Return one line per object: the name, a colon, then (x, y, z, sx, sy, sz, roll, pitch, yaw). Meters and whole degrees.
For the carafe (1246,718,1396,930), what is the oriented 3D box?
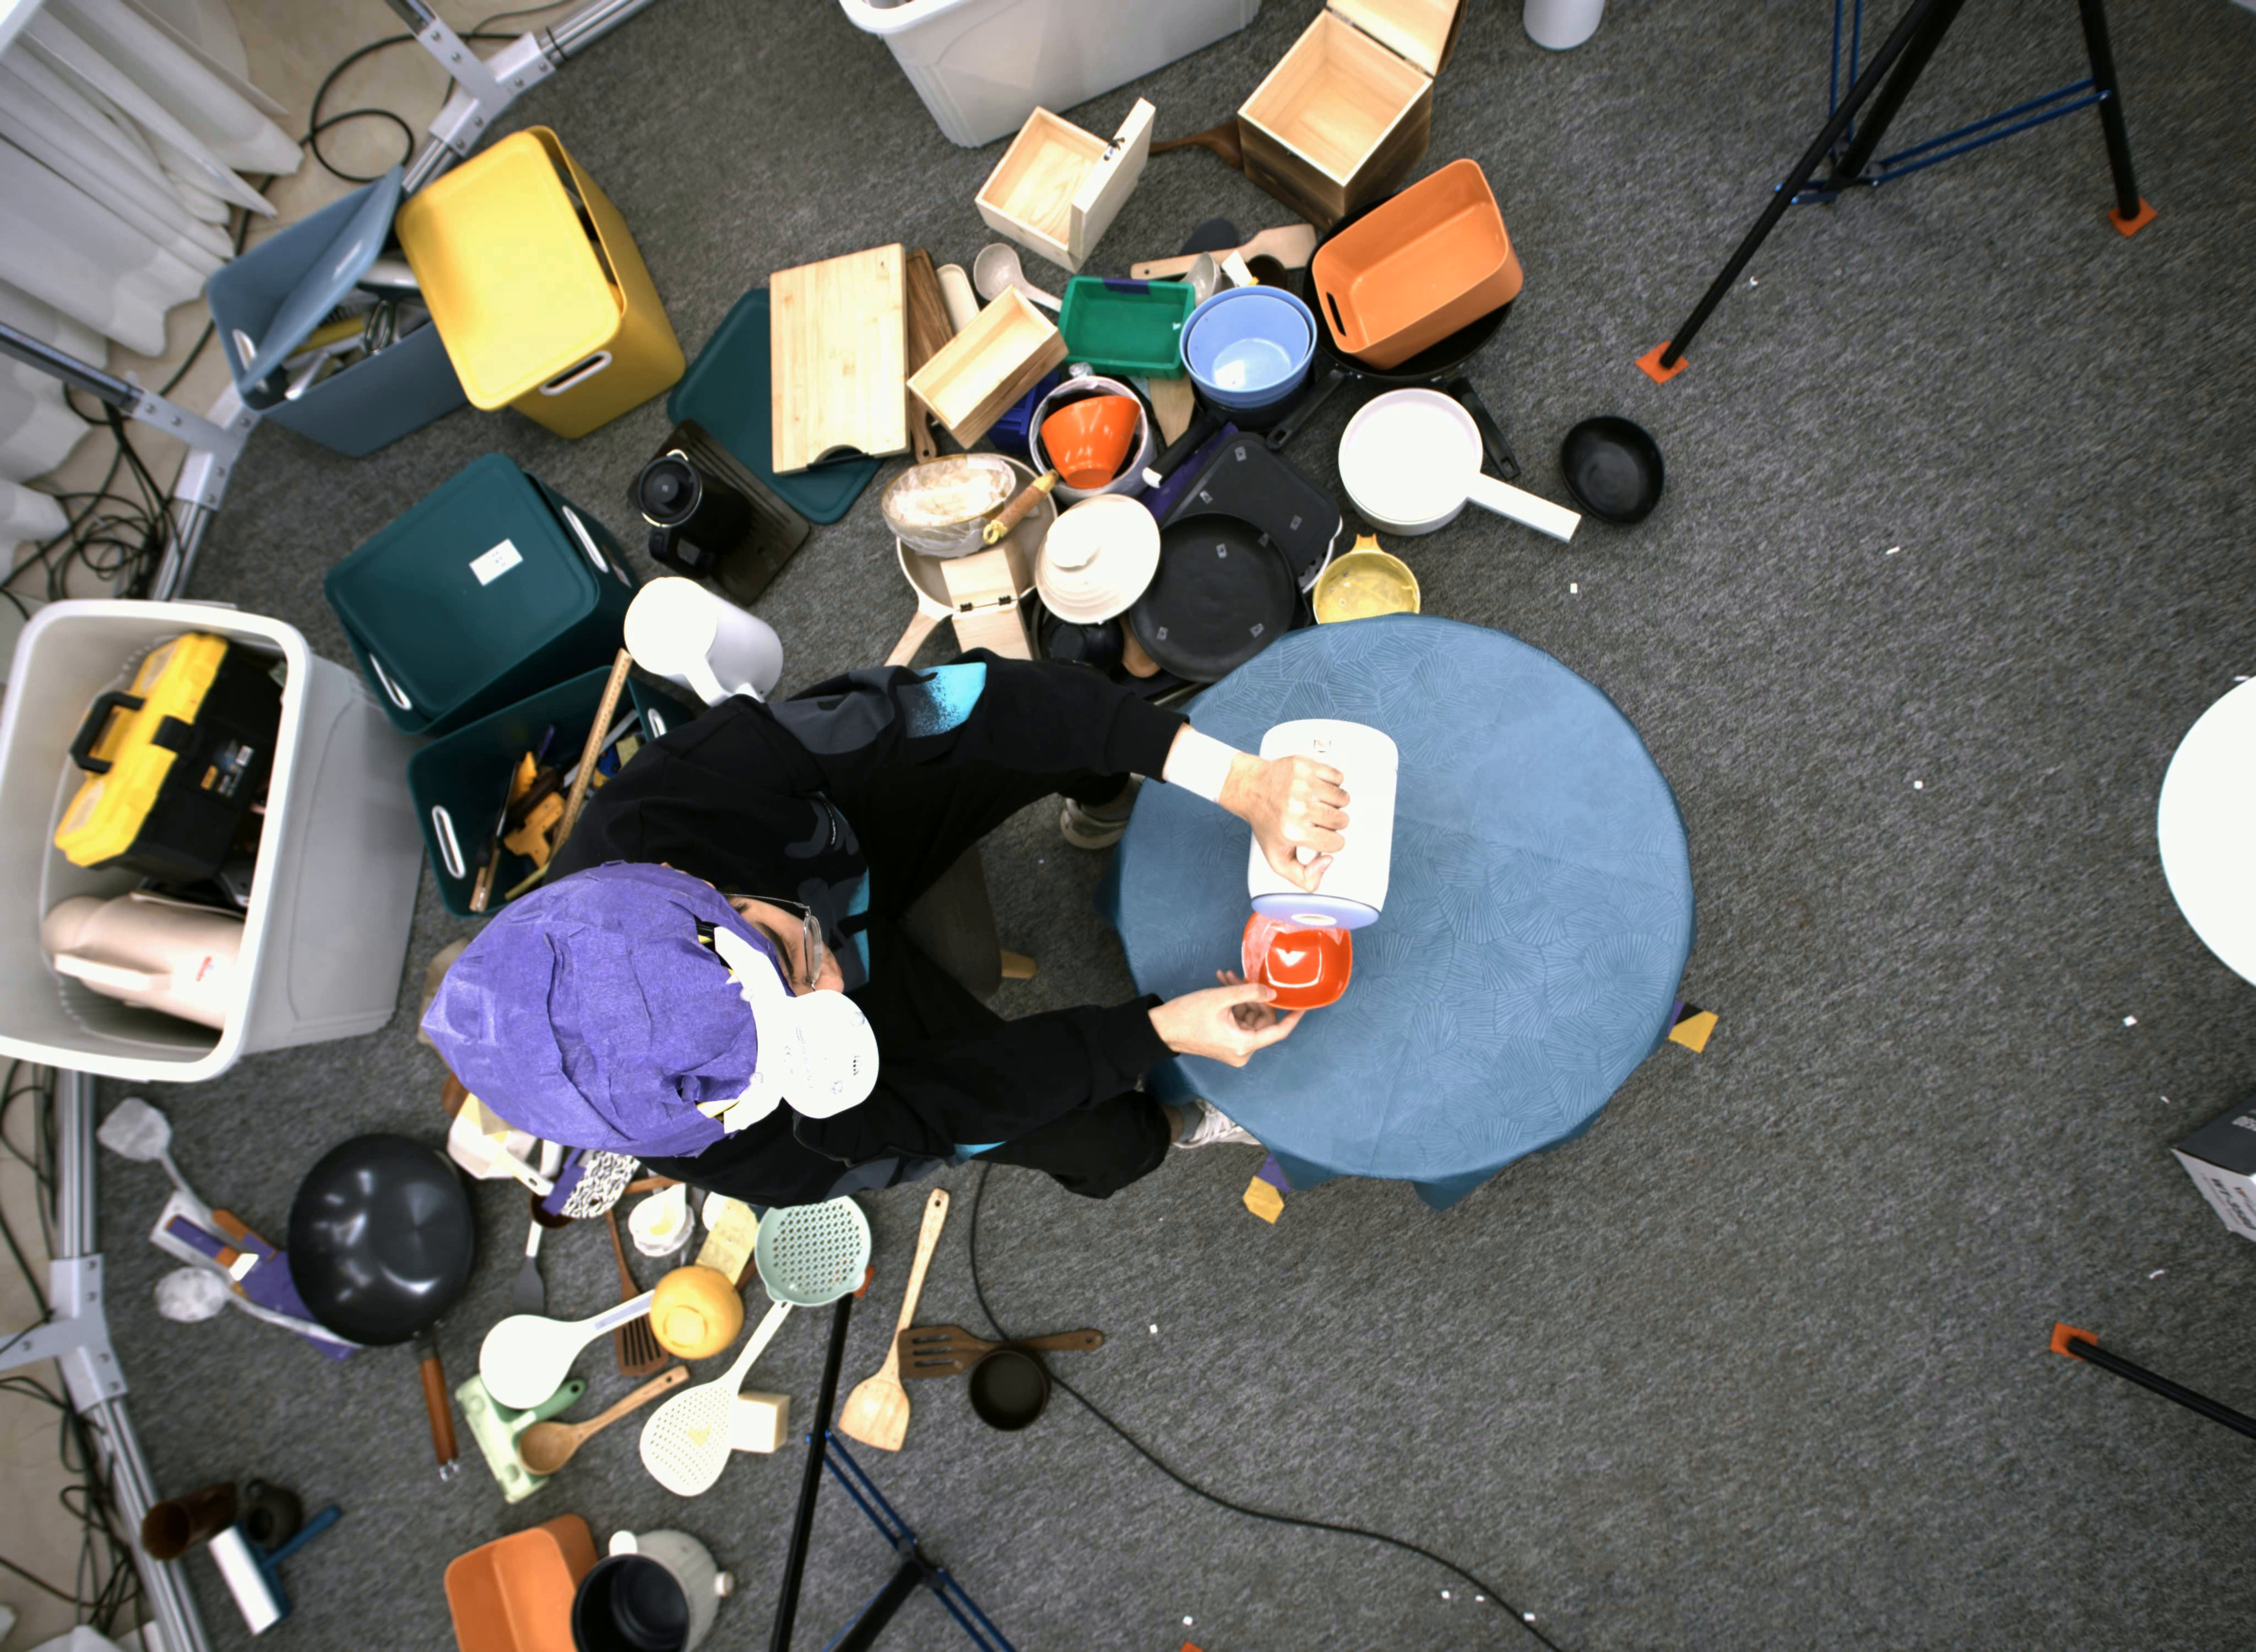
carafe: (0.175, -0.008, 1.271, 0.133, 0.193, 0.180, 2, 74, 15)

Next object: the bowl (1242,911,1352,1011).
bowl: (0.167, 0.130, 1.393, 0.119, 0.051, 0.118, 0, 84, 1)
